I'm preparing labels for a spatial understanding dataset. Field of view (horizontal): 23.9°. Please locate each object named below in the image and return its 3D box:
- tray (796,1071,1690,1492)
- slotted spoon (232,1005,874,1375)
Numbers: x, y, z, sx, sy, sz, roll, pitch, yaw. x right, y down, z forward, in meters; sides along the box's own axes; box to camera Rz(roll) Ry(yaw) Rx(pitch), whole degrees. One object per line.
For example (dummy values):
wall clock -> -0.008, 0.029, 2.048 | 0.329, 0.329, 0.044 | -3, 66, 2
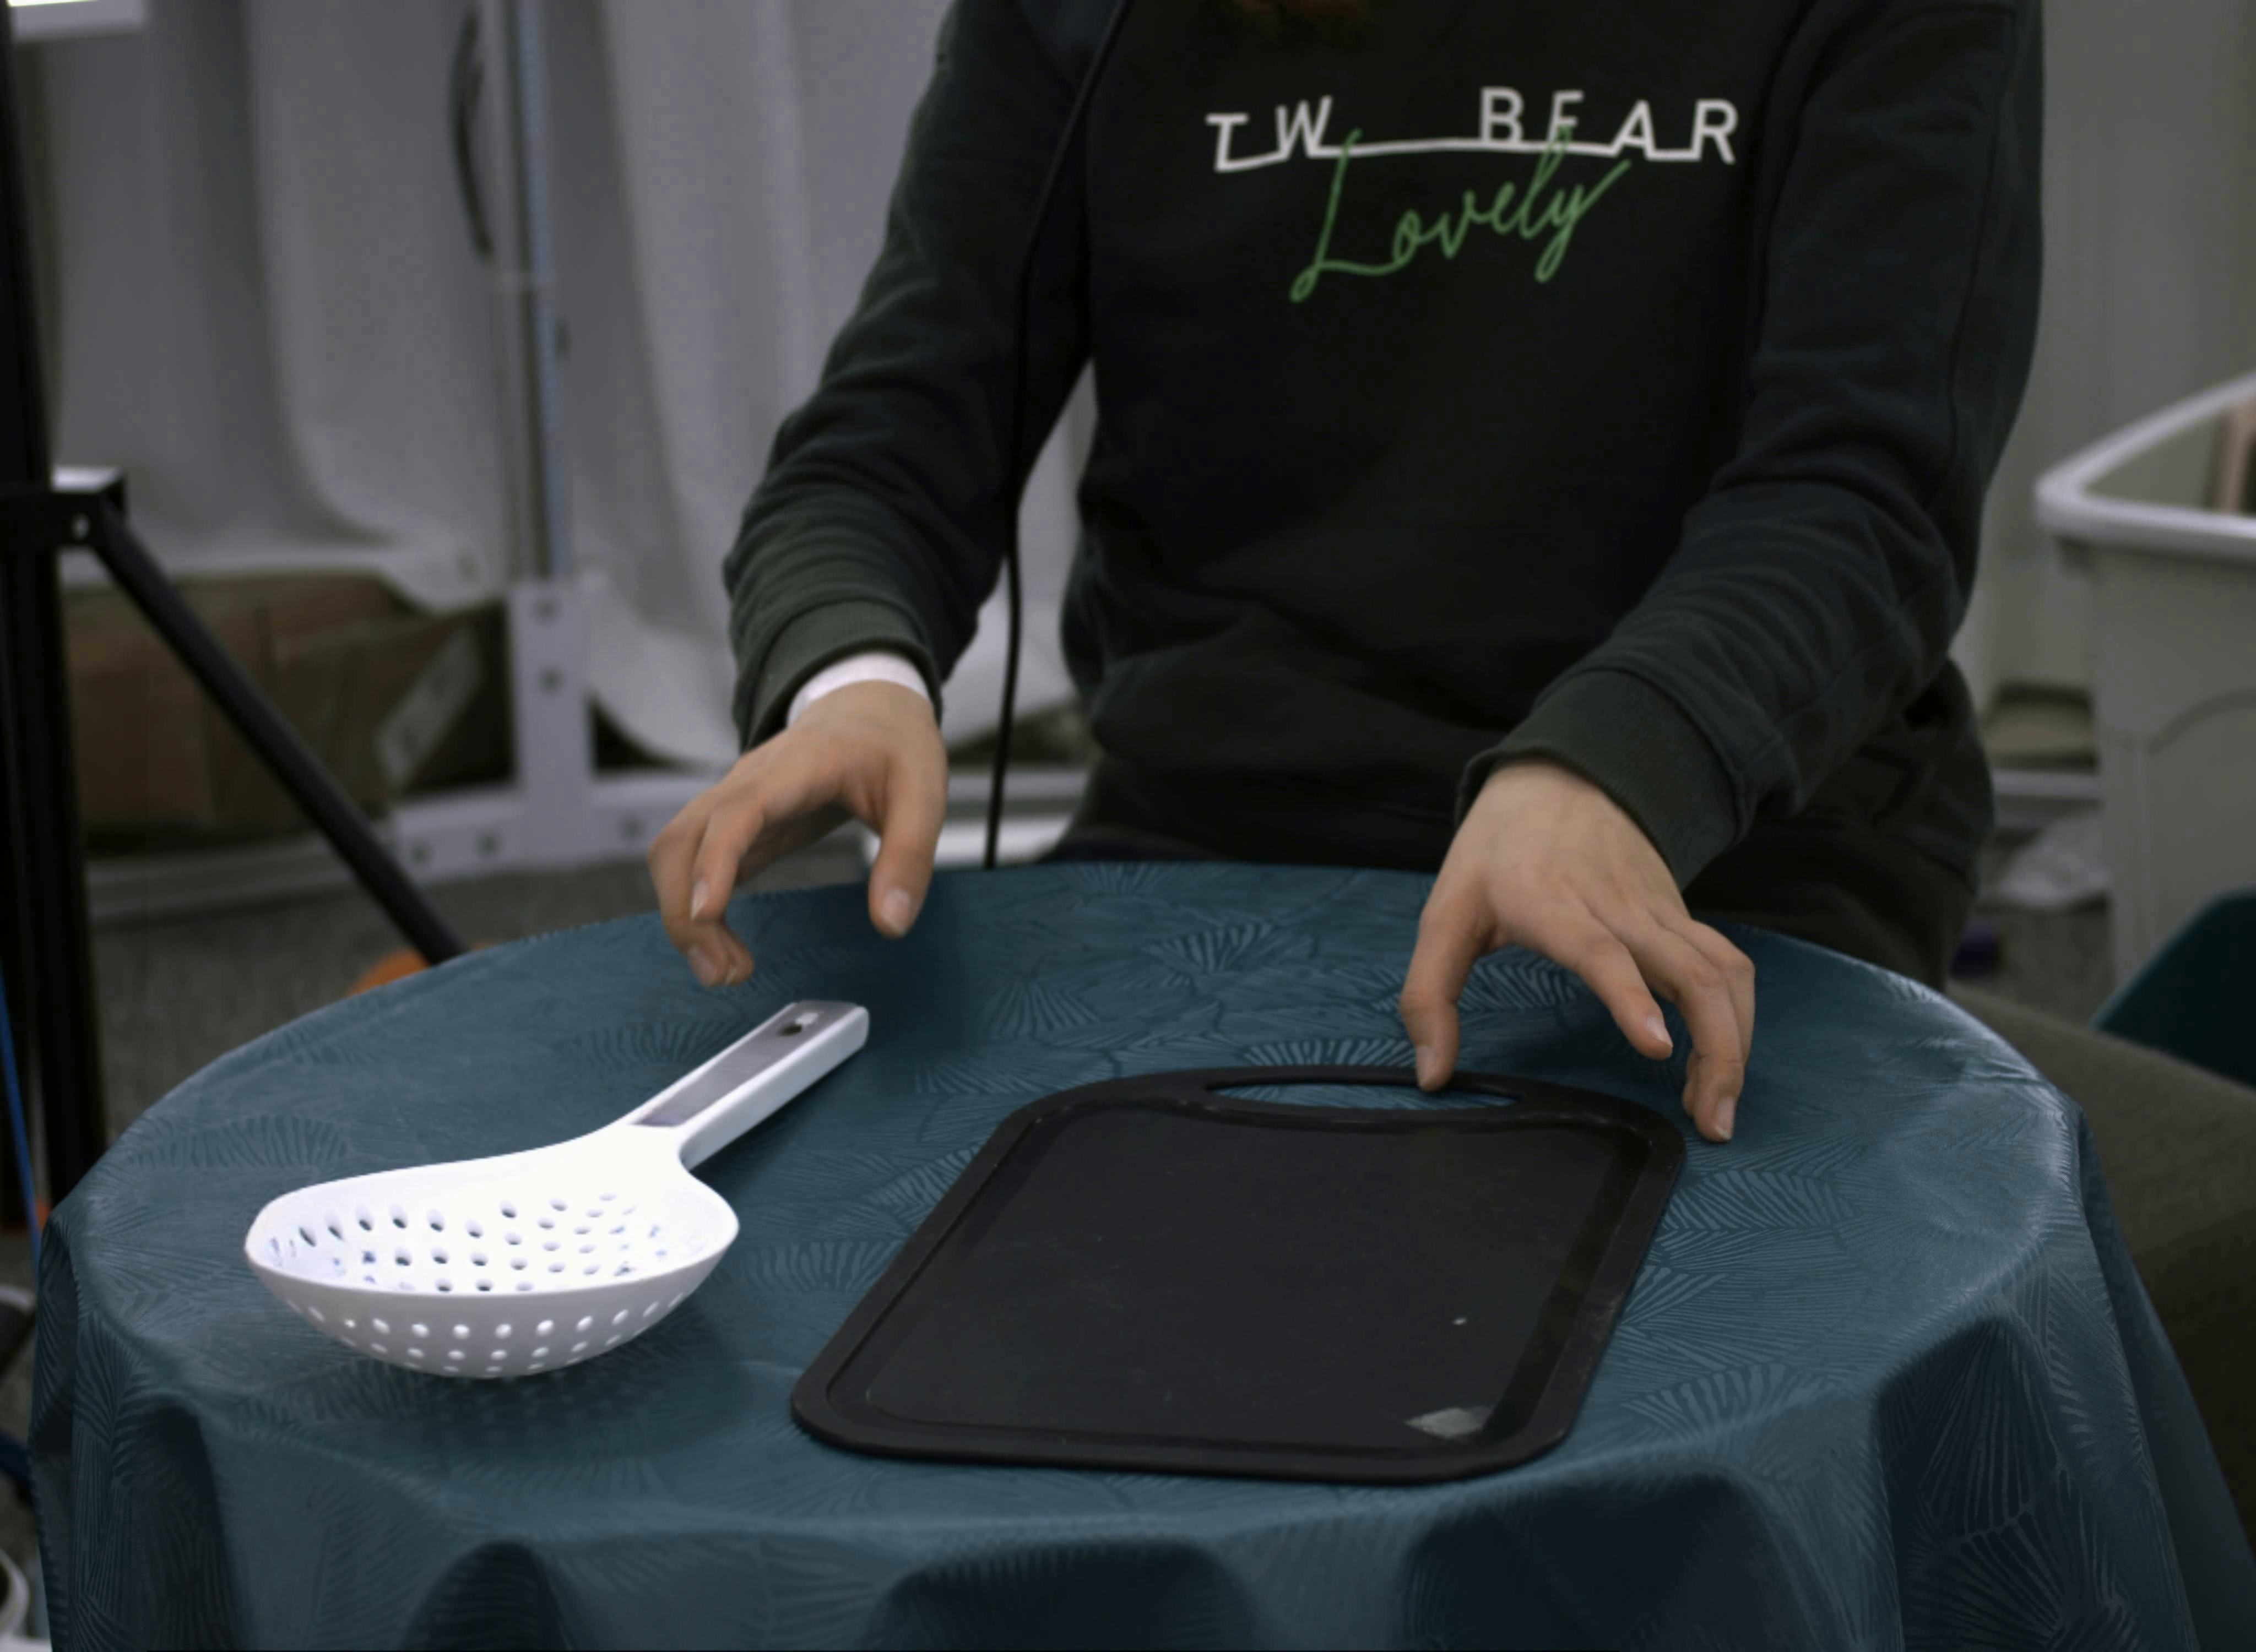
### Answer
tray -> 0.041, 0.120, 1.497 | 0.213, 0.010, 0.323 | 2, 16, 15
slotted spoon -> -0.143, 0.096, 1.543 | 0.137, 0.046, 0.346 | 4, 16, 16
